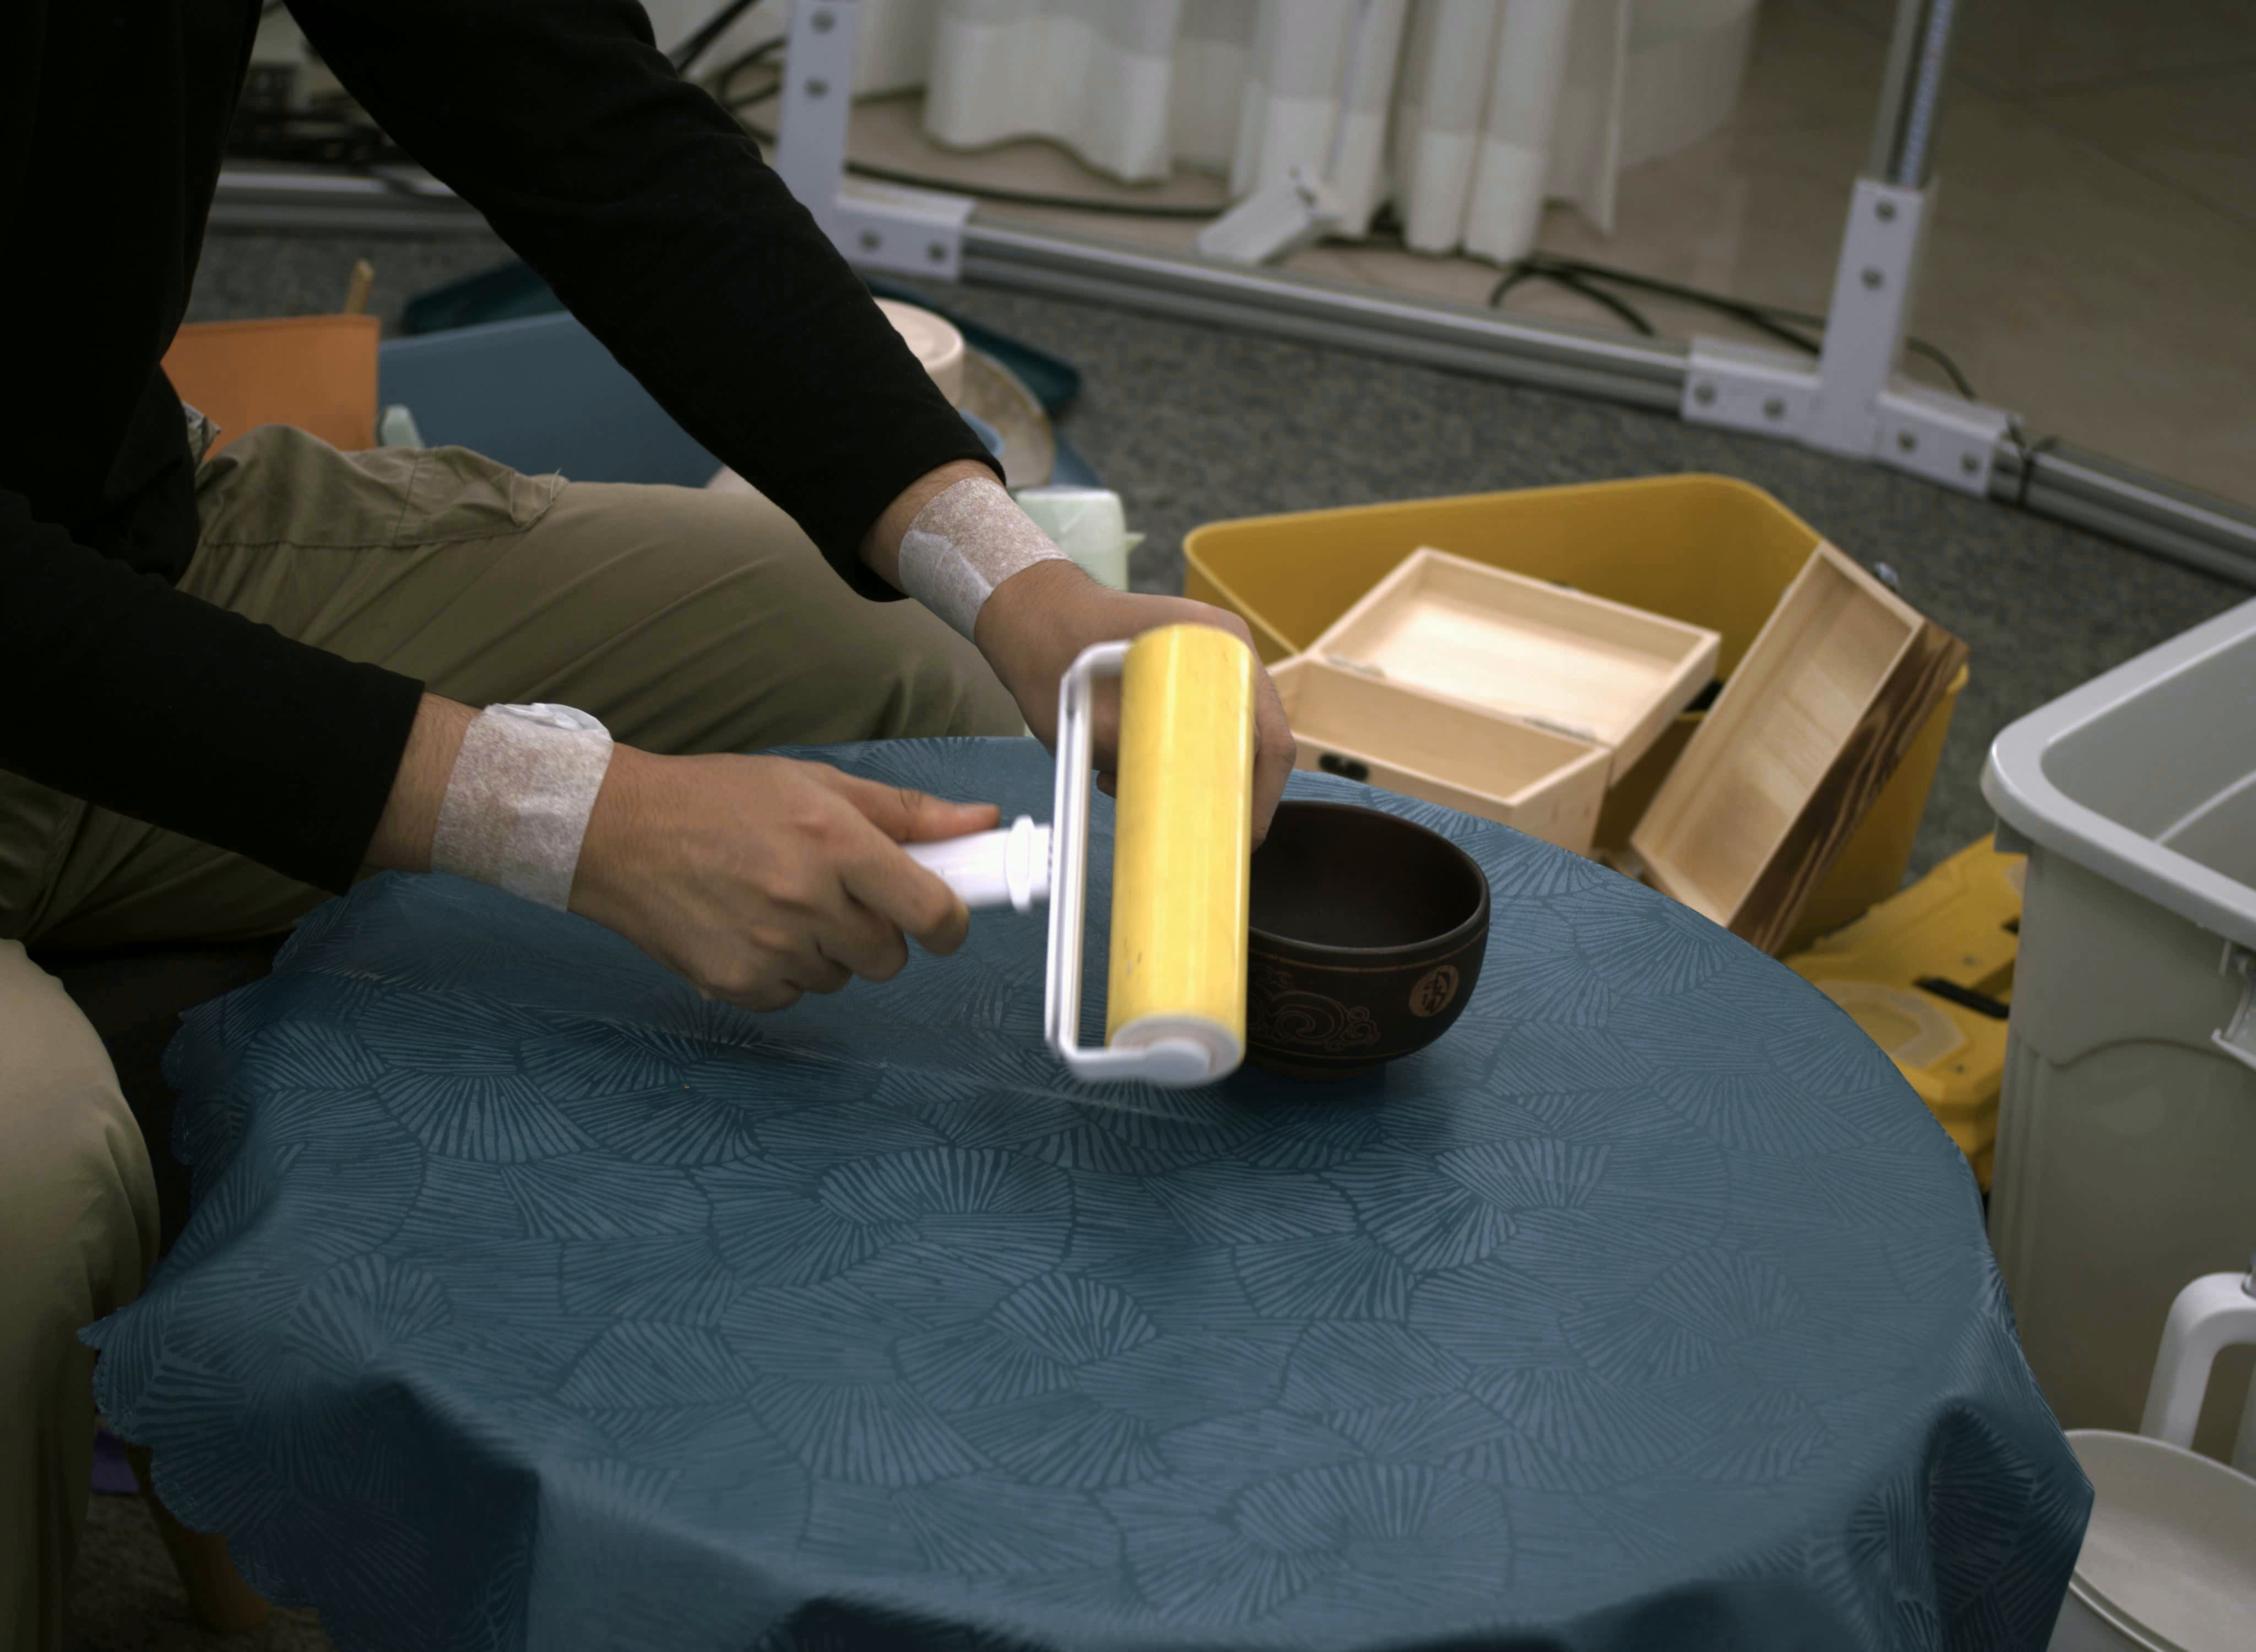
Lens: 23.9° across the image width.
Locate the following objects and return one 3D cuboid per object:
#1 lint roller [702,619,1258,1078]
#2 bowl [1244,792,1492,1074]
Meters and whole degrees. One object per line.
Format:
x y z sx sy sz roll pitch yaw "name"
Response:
-0.053 0.010 1.834 0.191 0.051 0.176 -1 55 1 "lint roller"
0.067 0.044 1.890 0.117 0.069 0.119 6 26 -3 "bowl"
